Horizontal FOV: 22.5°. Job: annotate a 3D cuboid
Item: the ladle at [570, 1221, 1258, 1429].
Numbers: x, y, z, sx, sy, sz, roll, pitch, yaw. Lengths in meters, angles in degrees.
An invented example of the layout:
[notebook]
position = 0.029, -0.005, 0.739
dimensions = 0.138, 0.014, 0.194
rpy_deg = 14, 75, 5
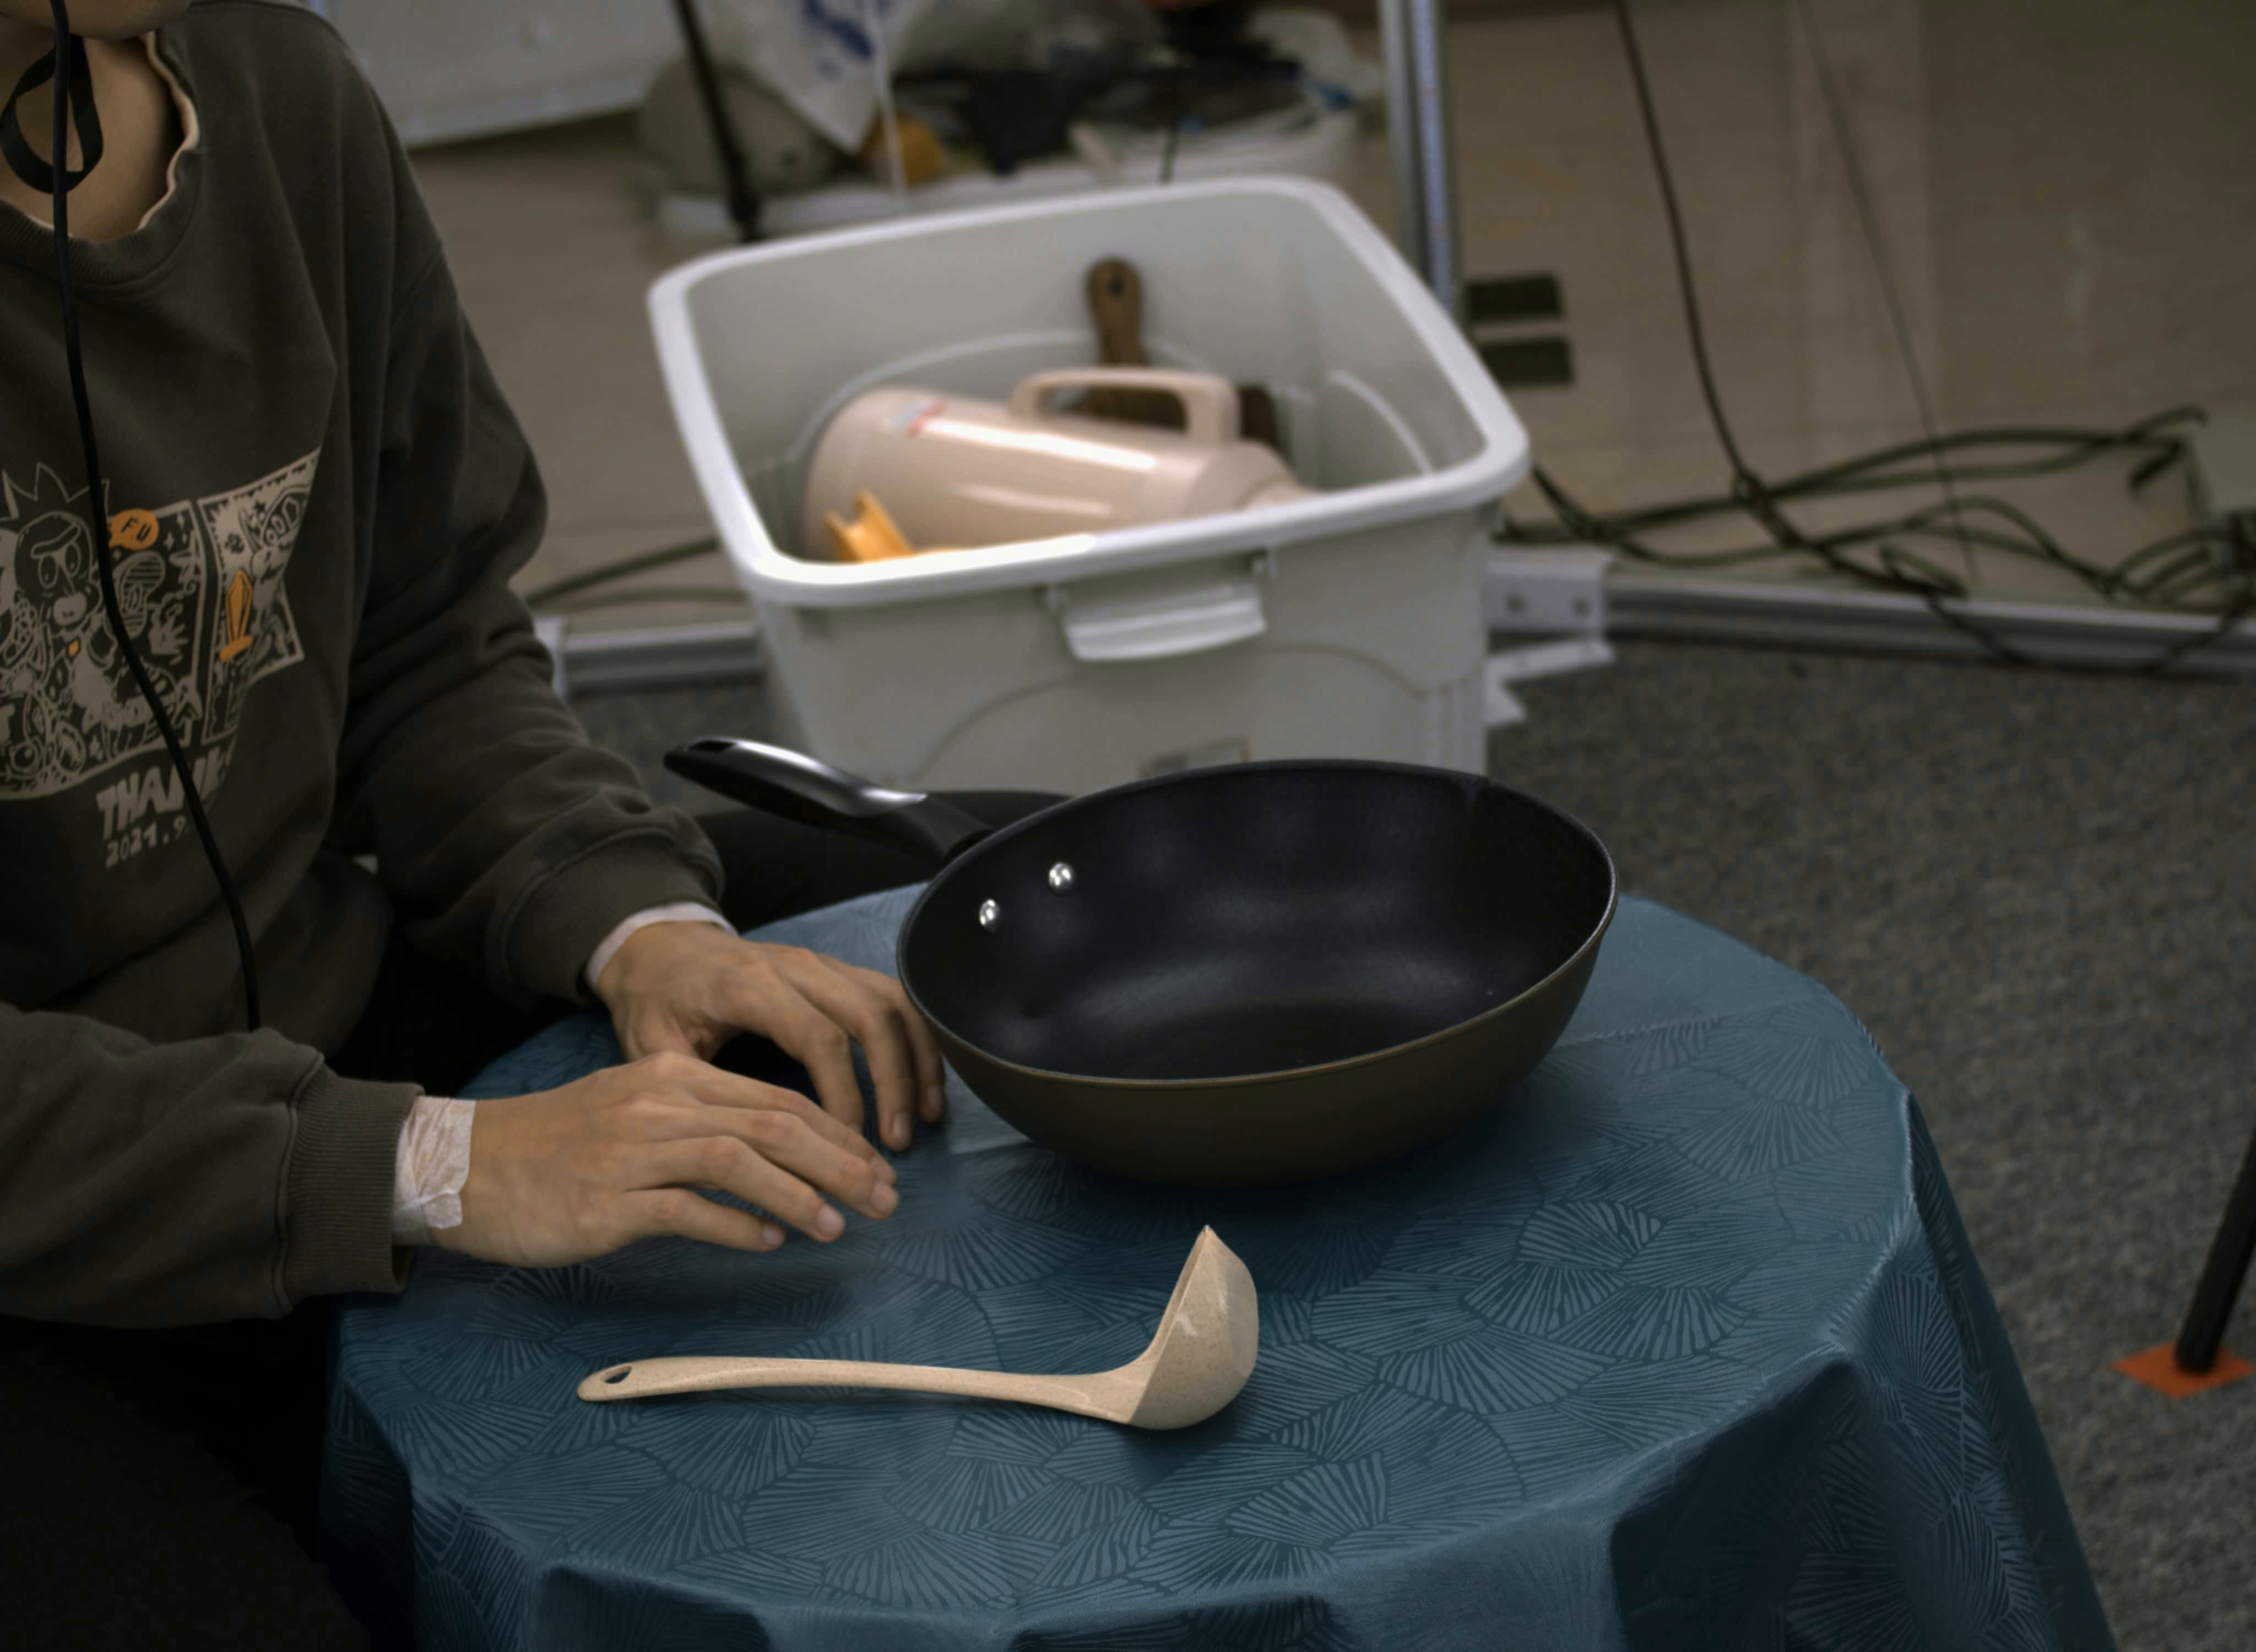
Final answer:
[ladle]
position = -0.082, 0.176, 2.002
dimensions = 0.254, 0.074, 0.071
rpy_deg = -1, 36, 12

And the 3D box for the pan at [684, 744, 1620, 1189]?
[pan]
position = -0.014, 0.049, 2.245
dimensions = 0.460, 0.088, 0.285
rpy_deg = 15, 33, 41
